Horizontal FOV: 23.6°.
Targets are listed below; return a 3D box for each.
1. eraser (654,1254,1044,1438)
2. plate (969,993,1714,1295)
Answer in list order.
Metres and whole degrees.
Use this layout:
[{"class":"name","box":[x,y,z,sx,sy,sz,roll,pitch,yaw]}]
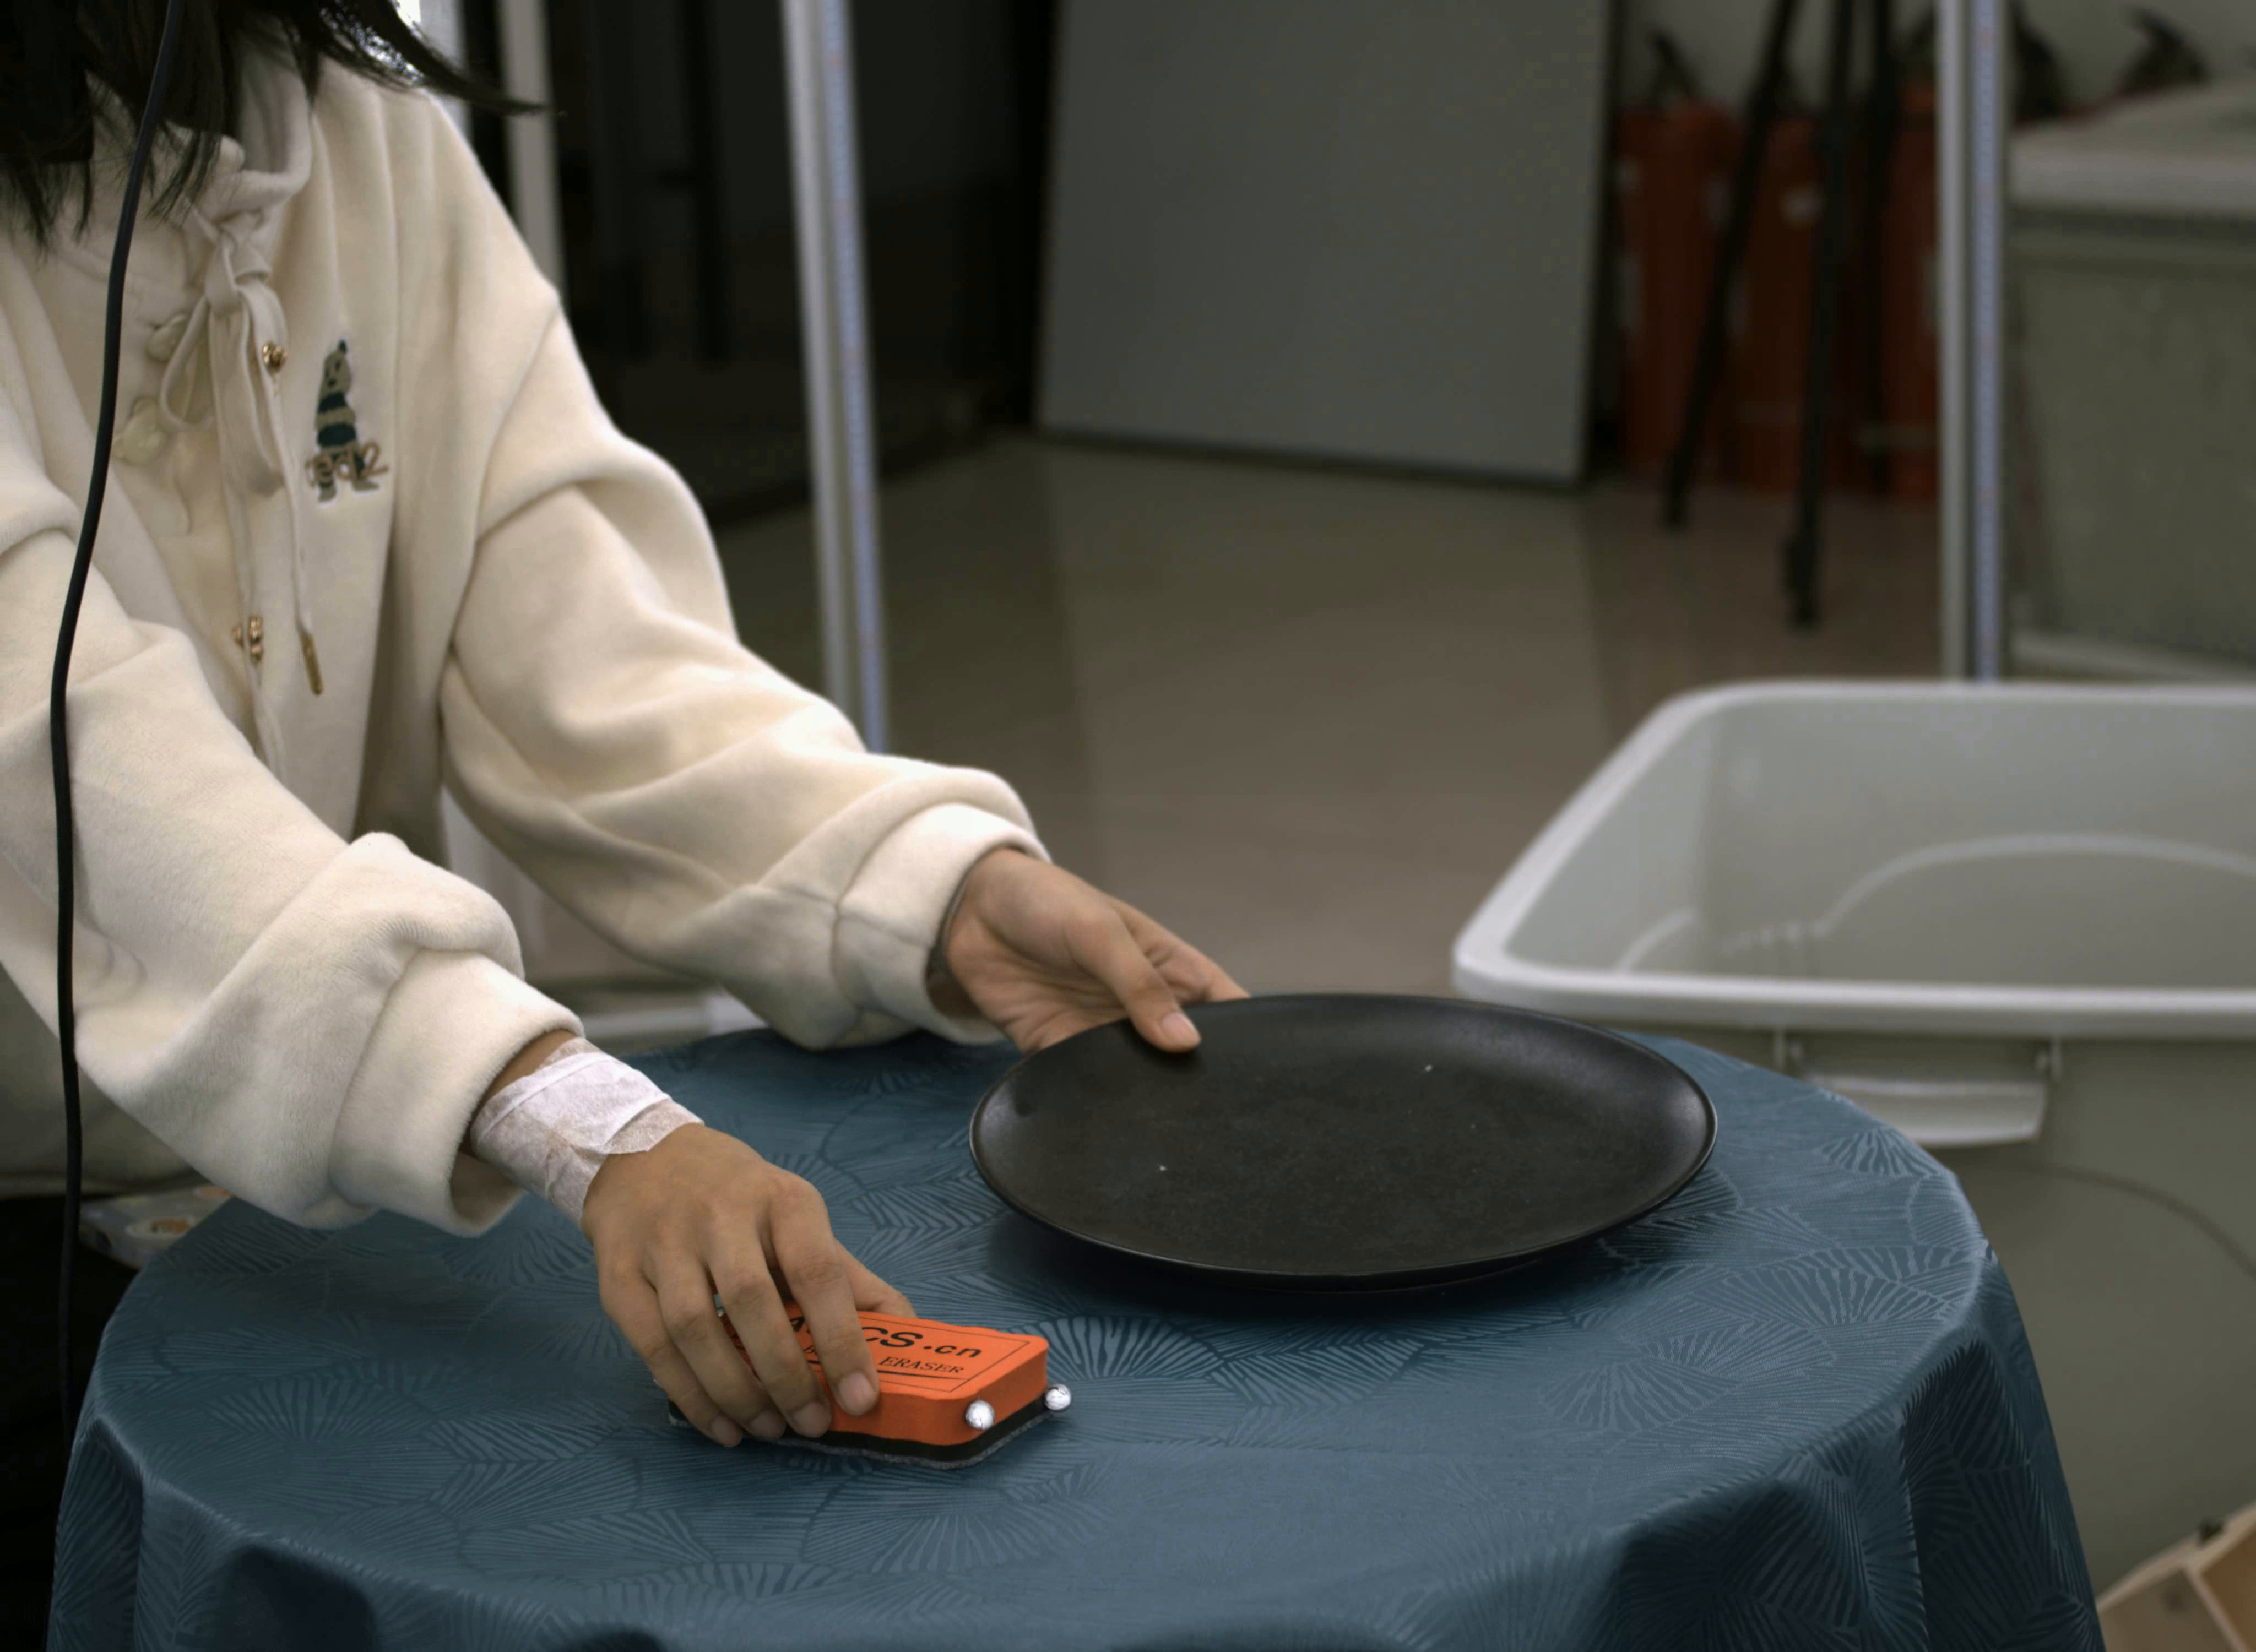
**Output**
[{"class":"eraser","box":[-0.081,0.151,1.574,0.108,0.023,0.058,6,22,32]},{"class":"plate","box":[0.069,0.105,1.735,0.241,0.023,0.245,-3,18,0]}]
